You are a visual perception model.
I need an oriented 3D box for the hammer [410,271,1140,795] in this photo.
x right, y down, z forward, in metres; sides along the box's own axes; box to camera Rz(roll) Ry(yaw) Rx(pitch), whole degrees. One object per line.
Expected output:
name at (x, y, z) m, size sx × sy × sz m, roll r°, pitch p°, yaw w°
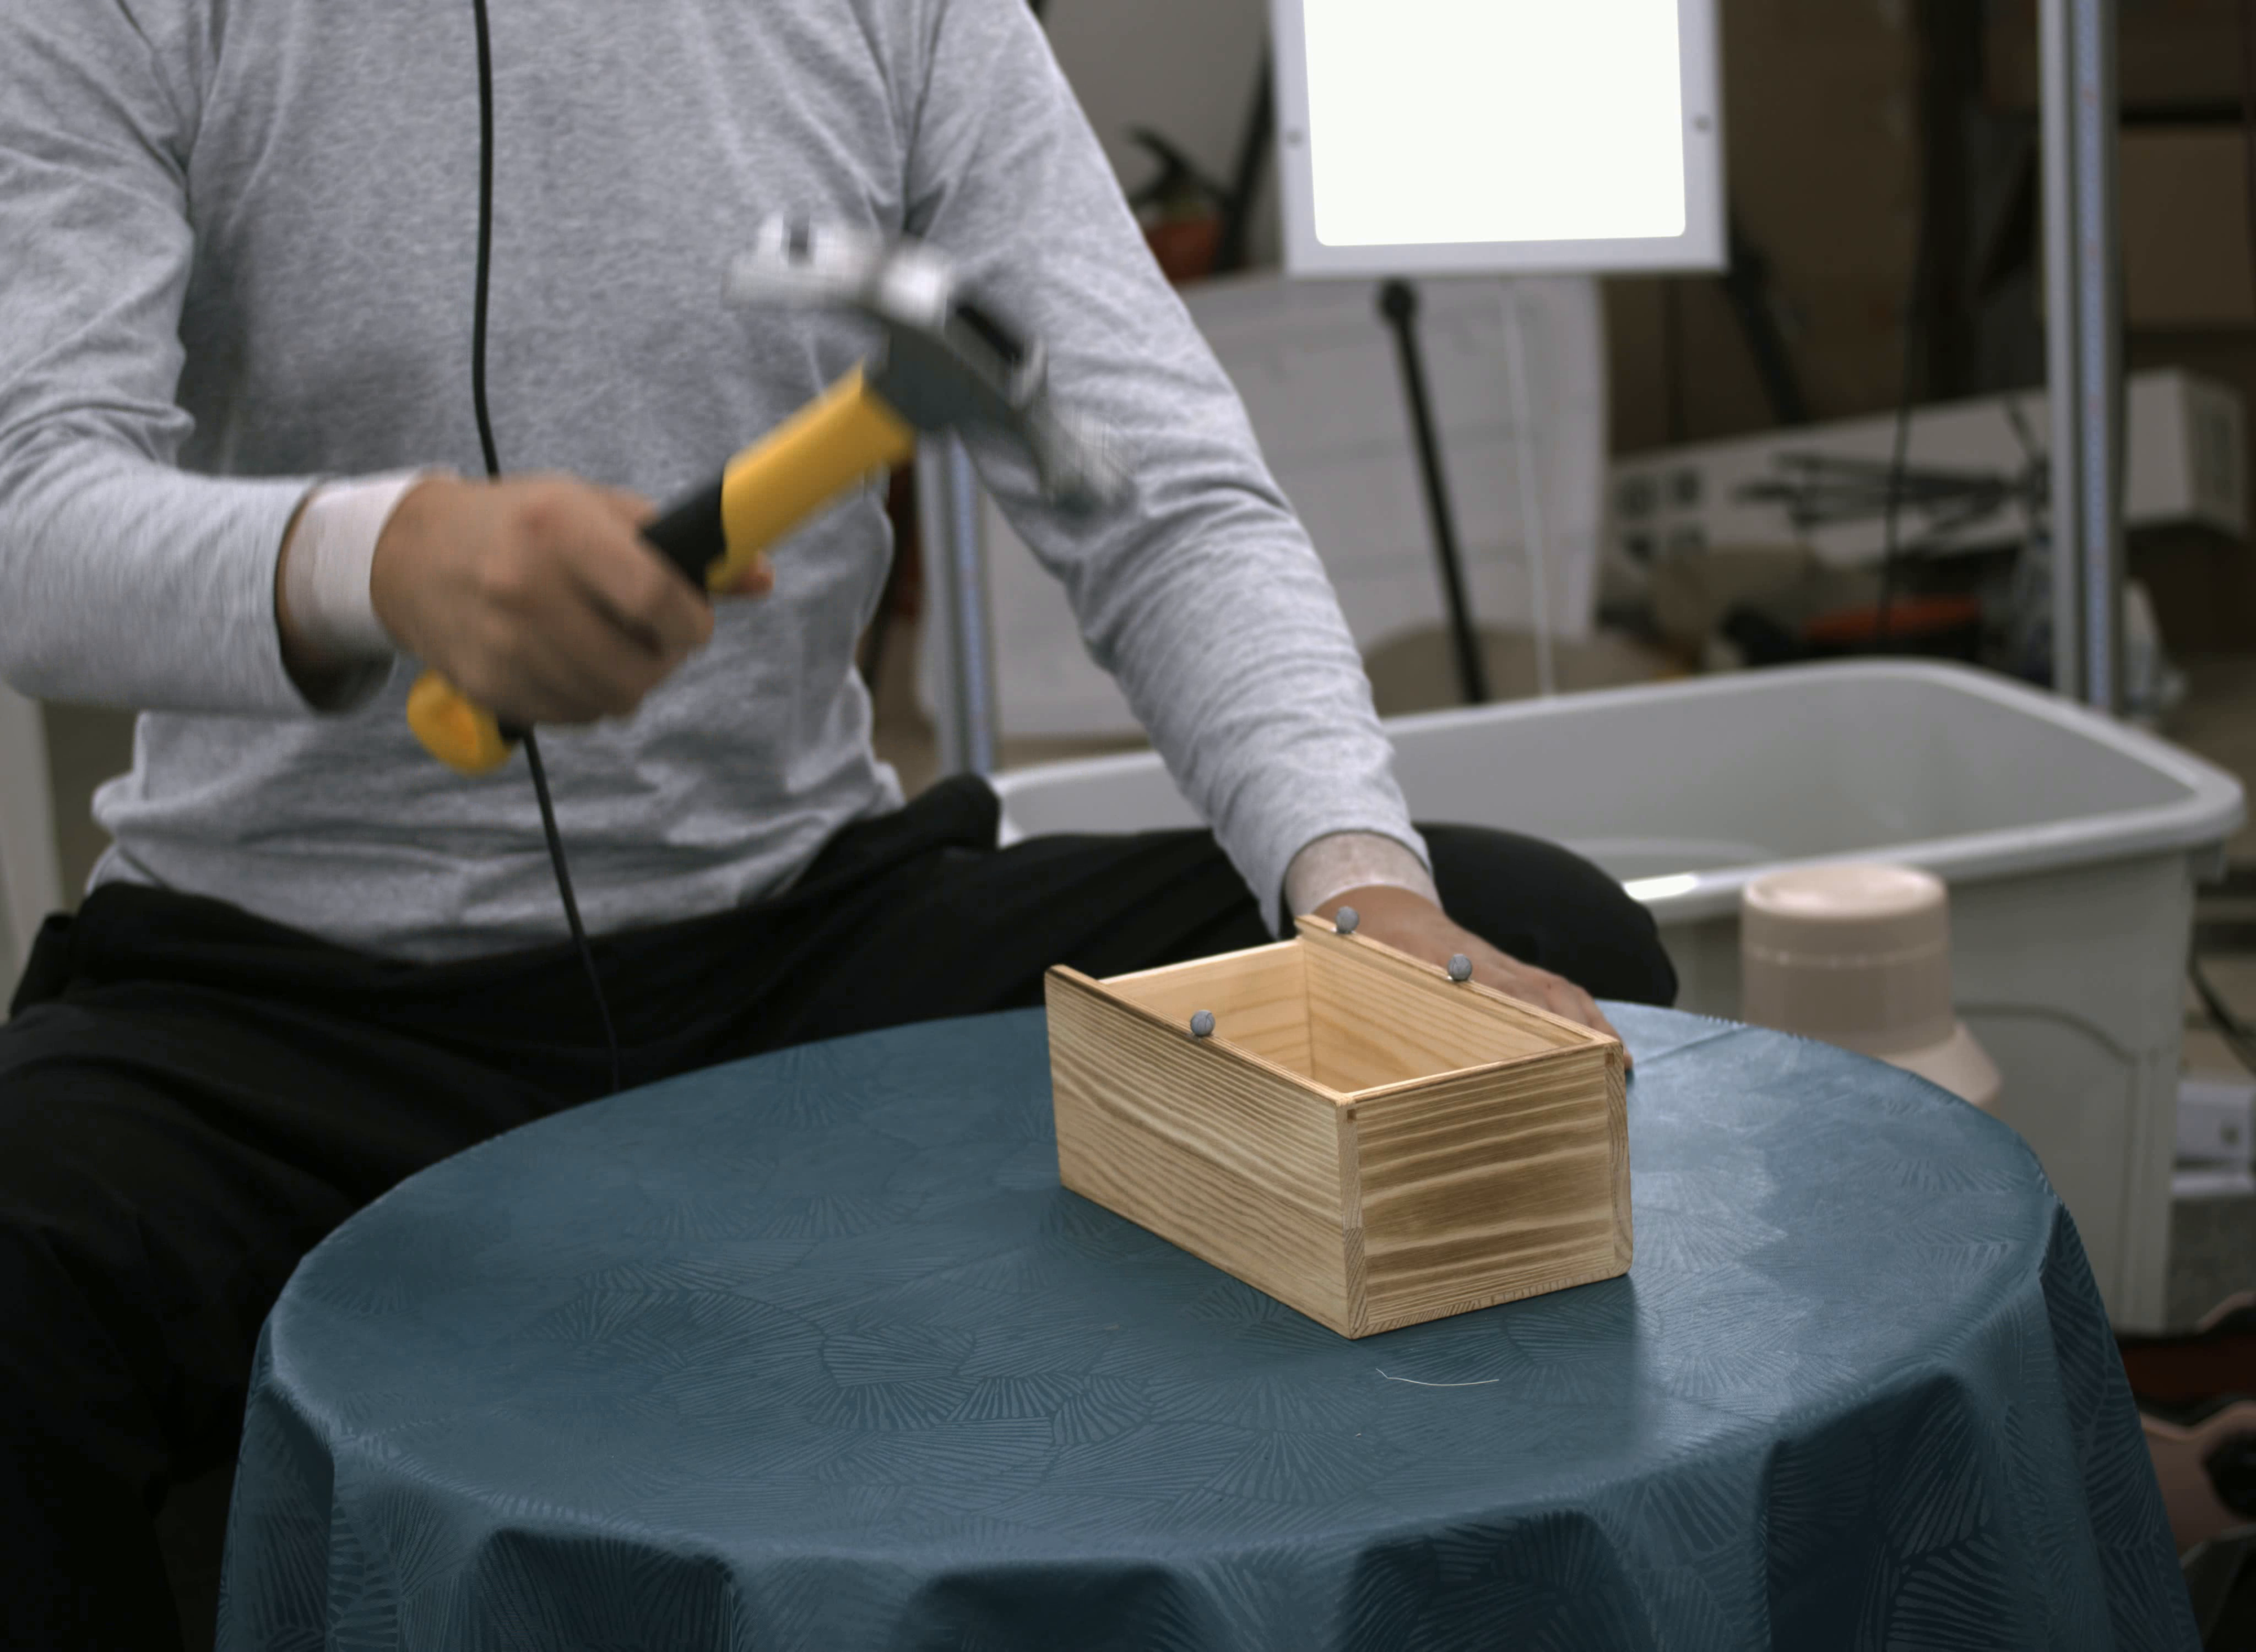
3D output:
hammer at (-0.140, -0.083, 1.810) m, size 0.346 × 0.130 × 0.032 m, roll -30°, pitch 23°, yaw 49°

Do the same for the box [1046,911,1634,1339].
box at (0.068, 0.096, 1.830) m, size 0.105 × 0.080 × 0.215 m, roll -12°, pitch 15°, yaw -24°
